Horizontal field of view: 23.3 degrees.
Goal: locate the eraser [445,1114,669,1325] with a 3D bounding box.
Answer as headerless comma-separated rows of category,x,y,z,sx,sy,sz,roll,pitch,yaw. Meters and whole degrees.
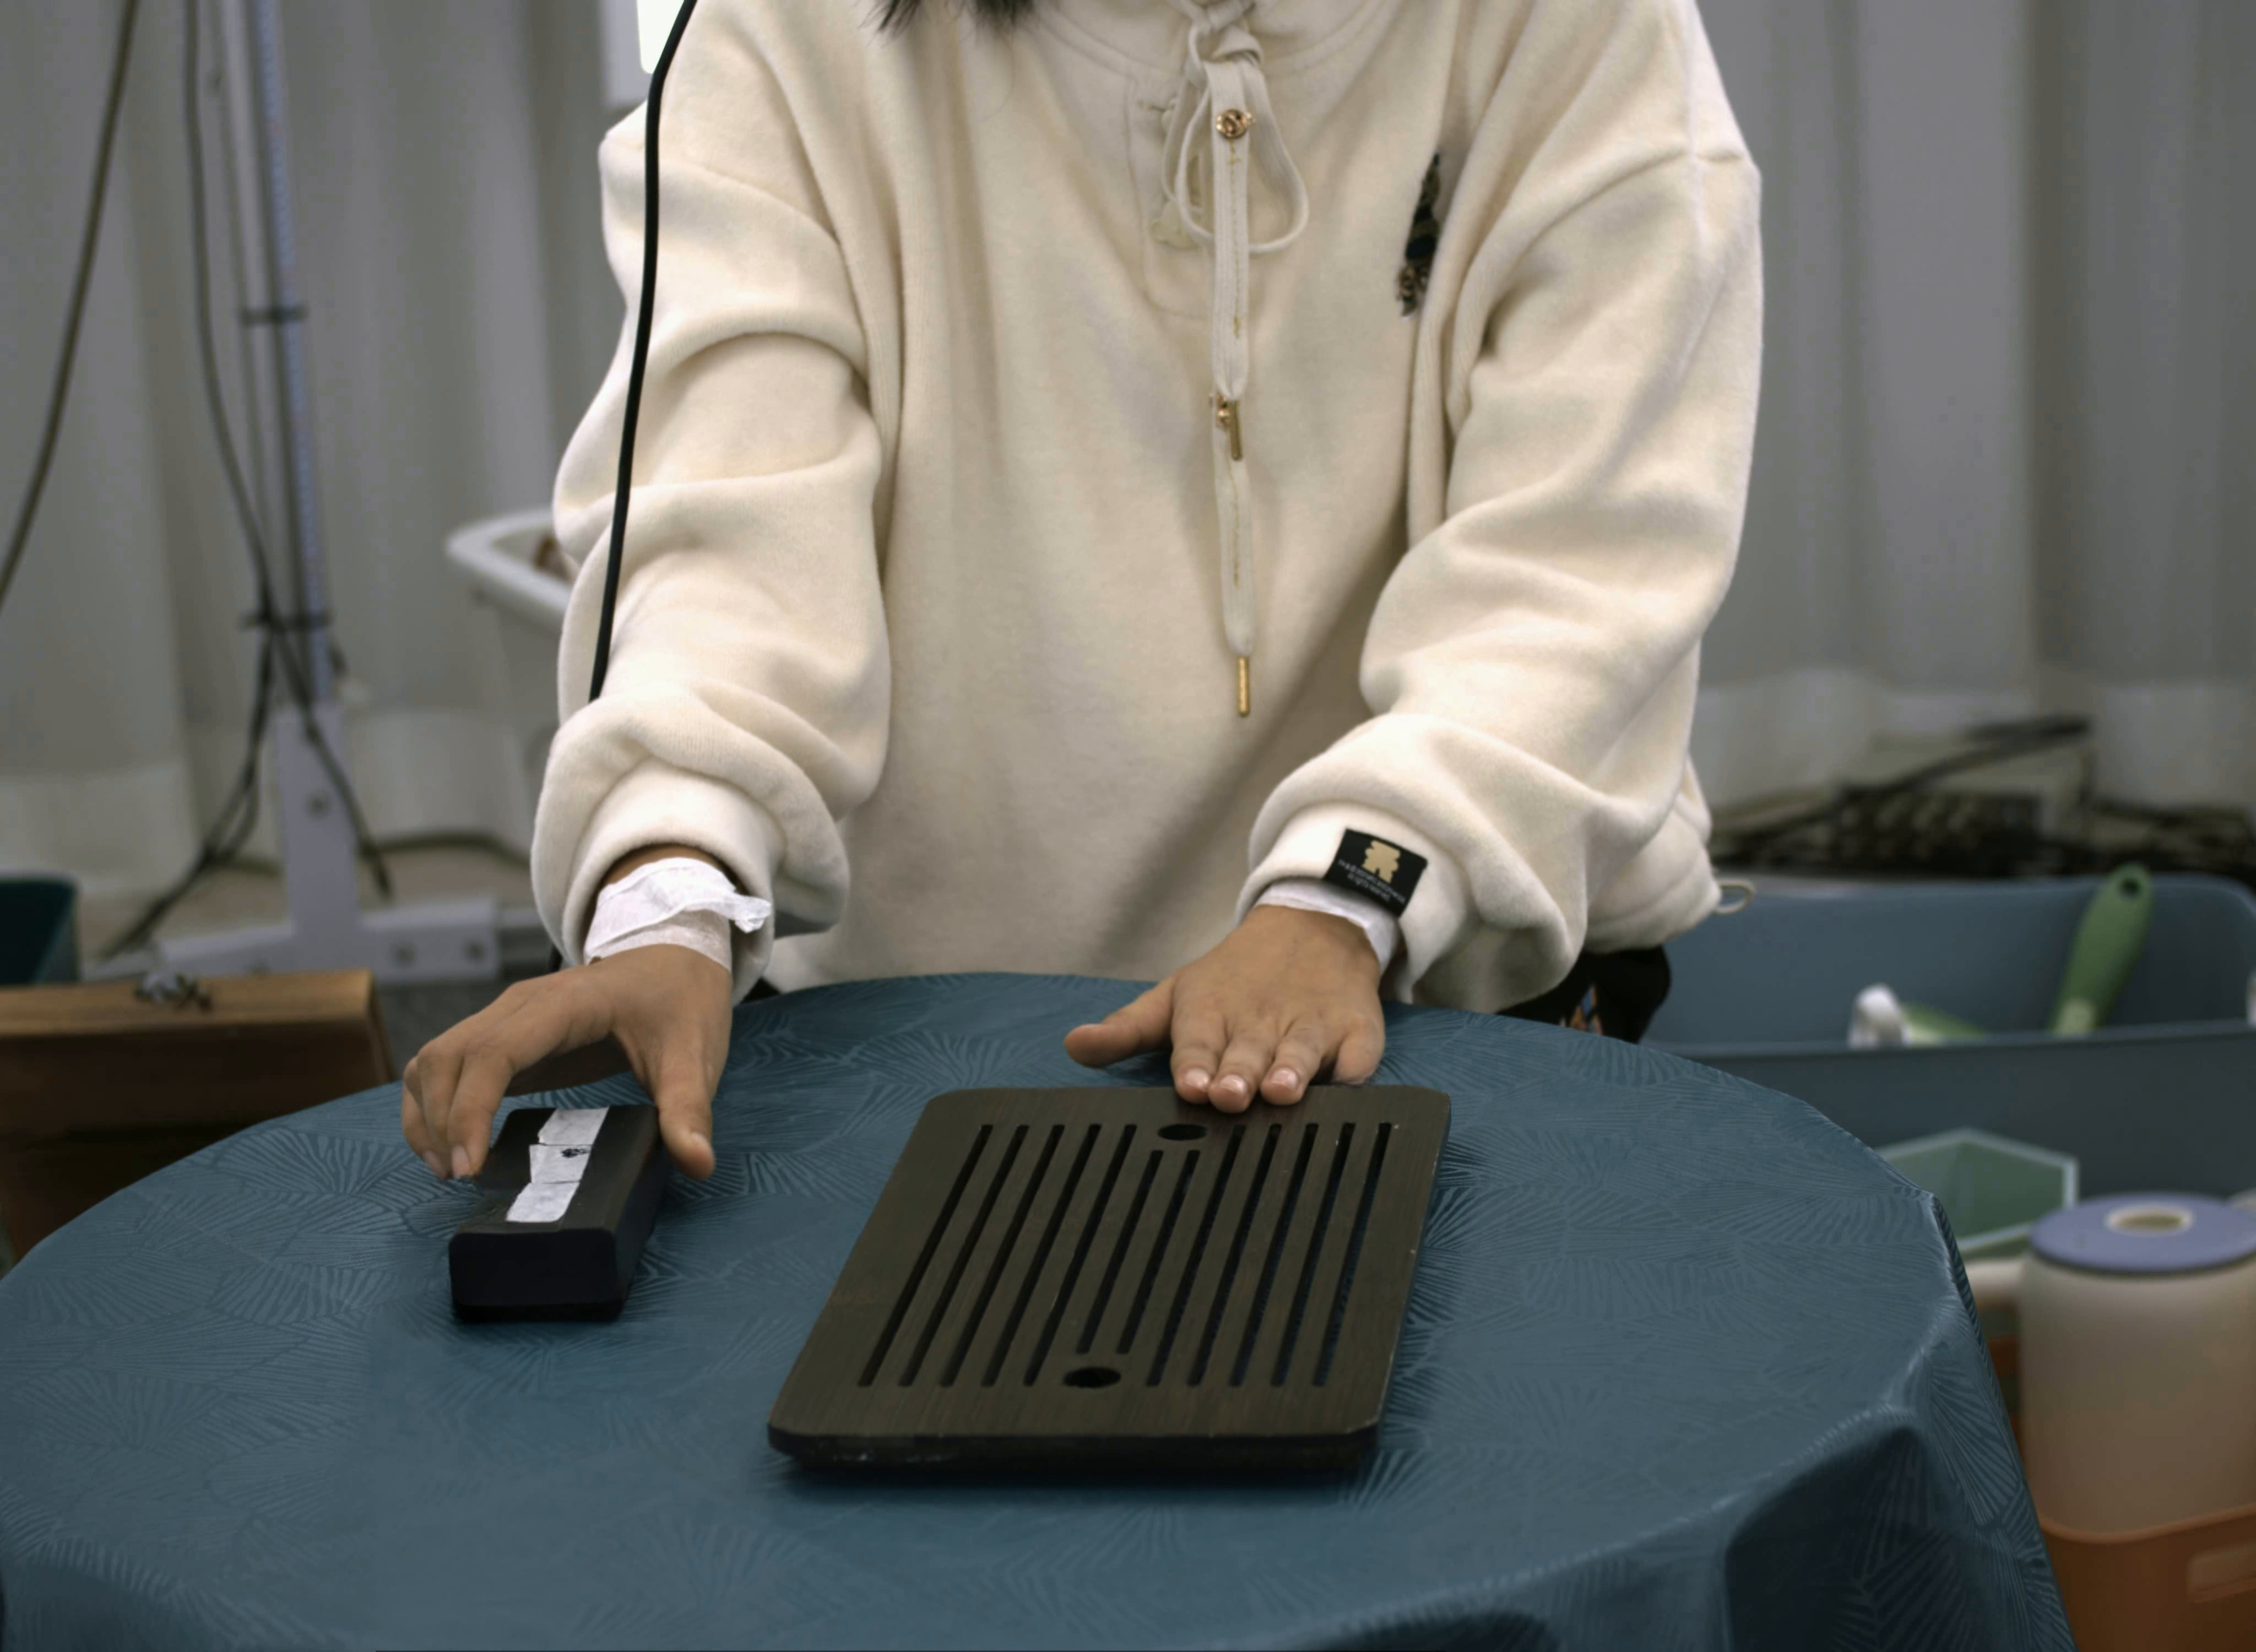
eraser,-0.174,0.120,1.677,0.053,0.030,0.126,0,14,2

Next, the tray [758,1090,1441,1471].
tray,-0.001,0.132,1.615,0.170,0.018,0.307,-1,15,8
